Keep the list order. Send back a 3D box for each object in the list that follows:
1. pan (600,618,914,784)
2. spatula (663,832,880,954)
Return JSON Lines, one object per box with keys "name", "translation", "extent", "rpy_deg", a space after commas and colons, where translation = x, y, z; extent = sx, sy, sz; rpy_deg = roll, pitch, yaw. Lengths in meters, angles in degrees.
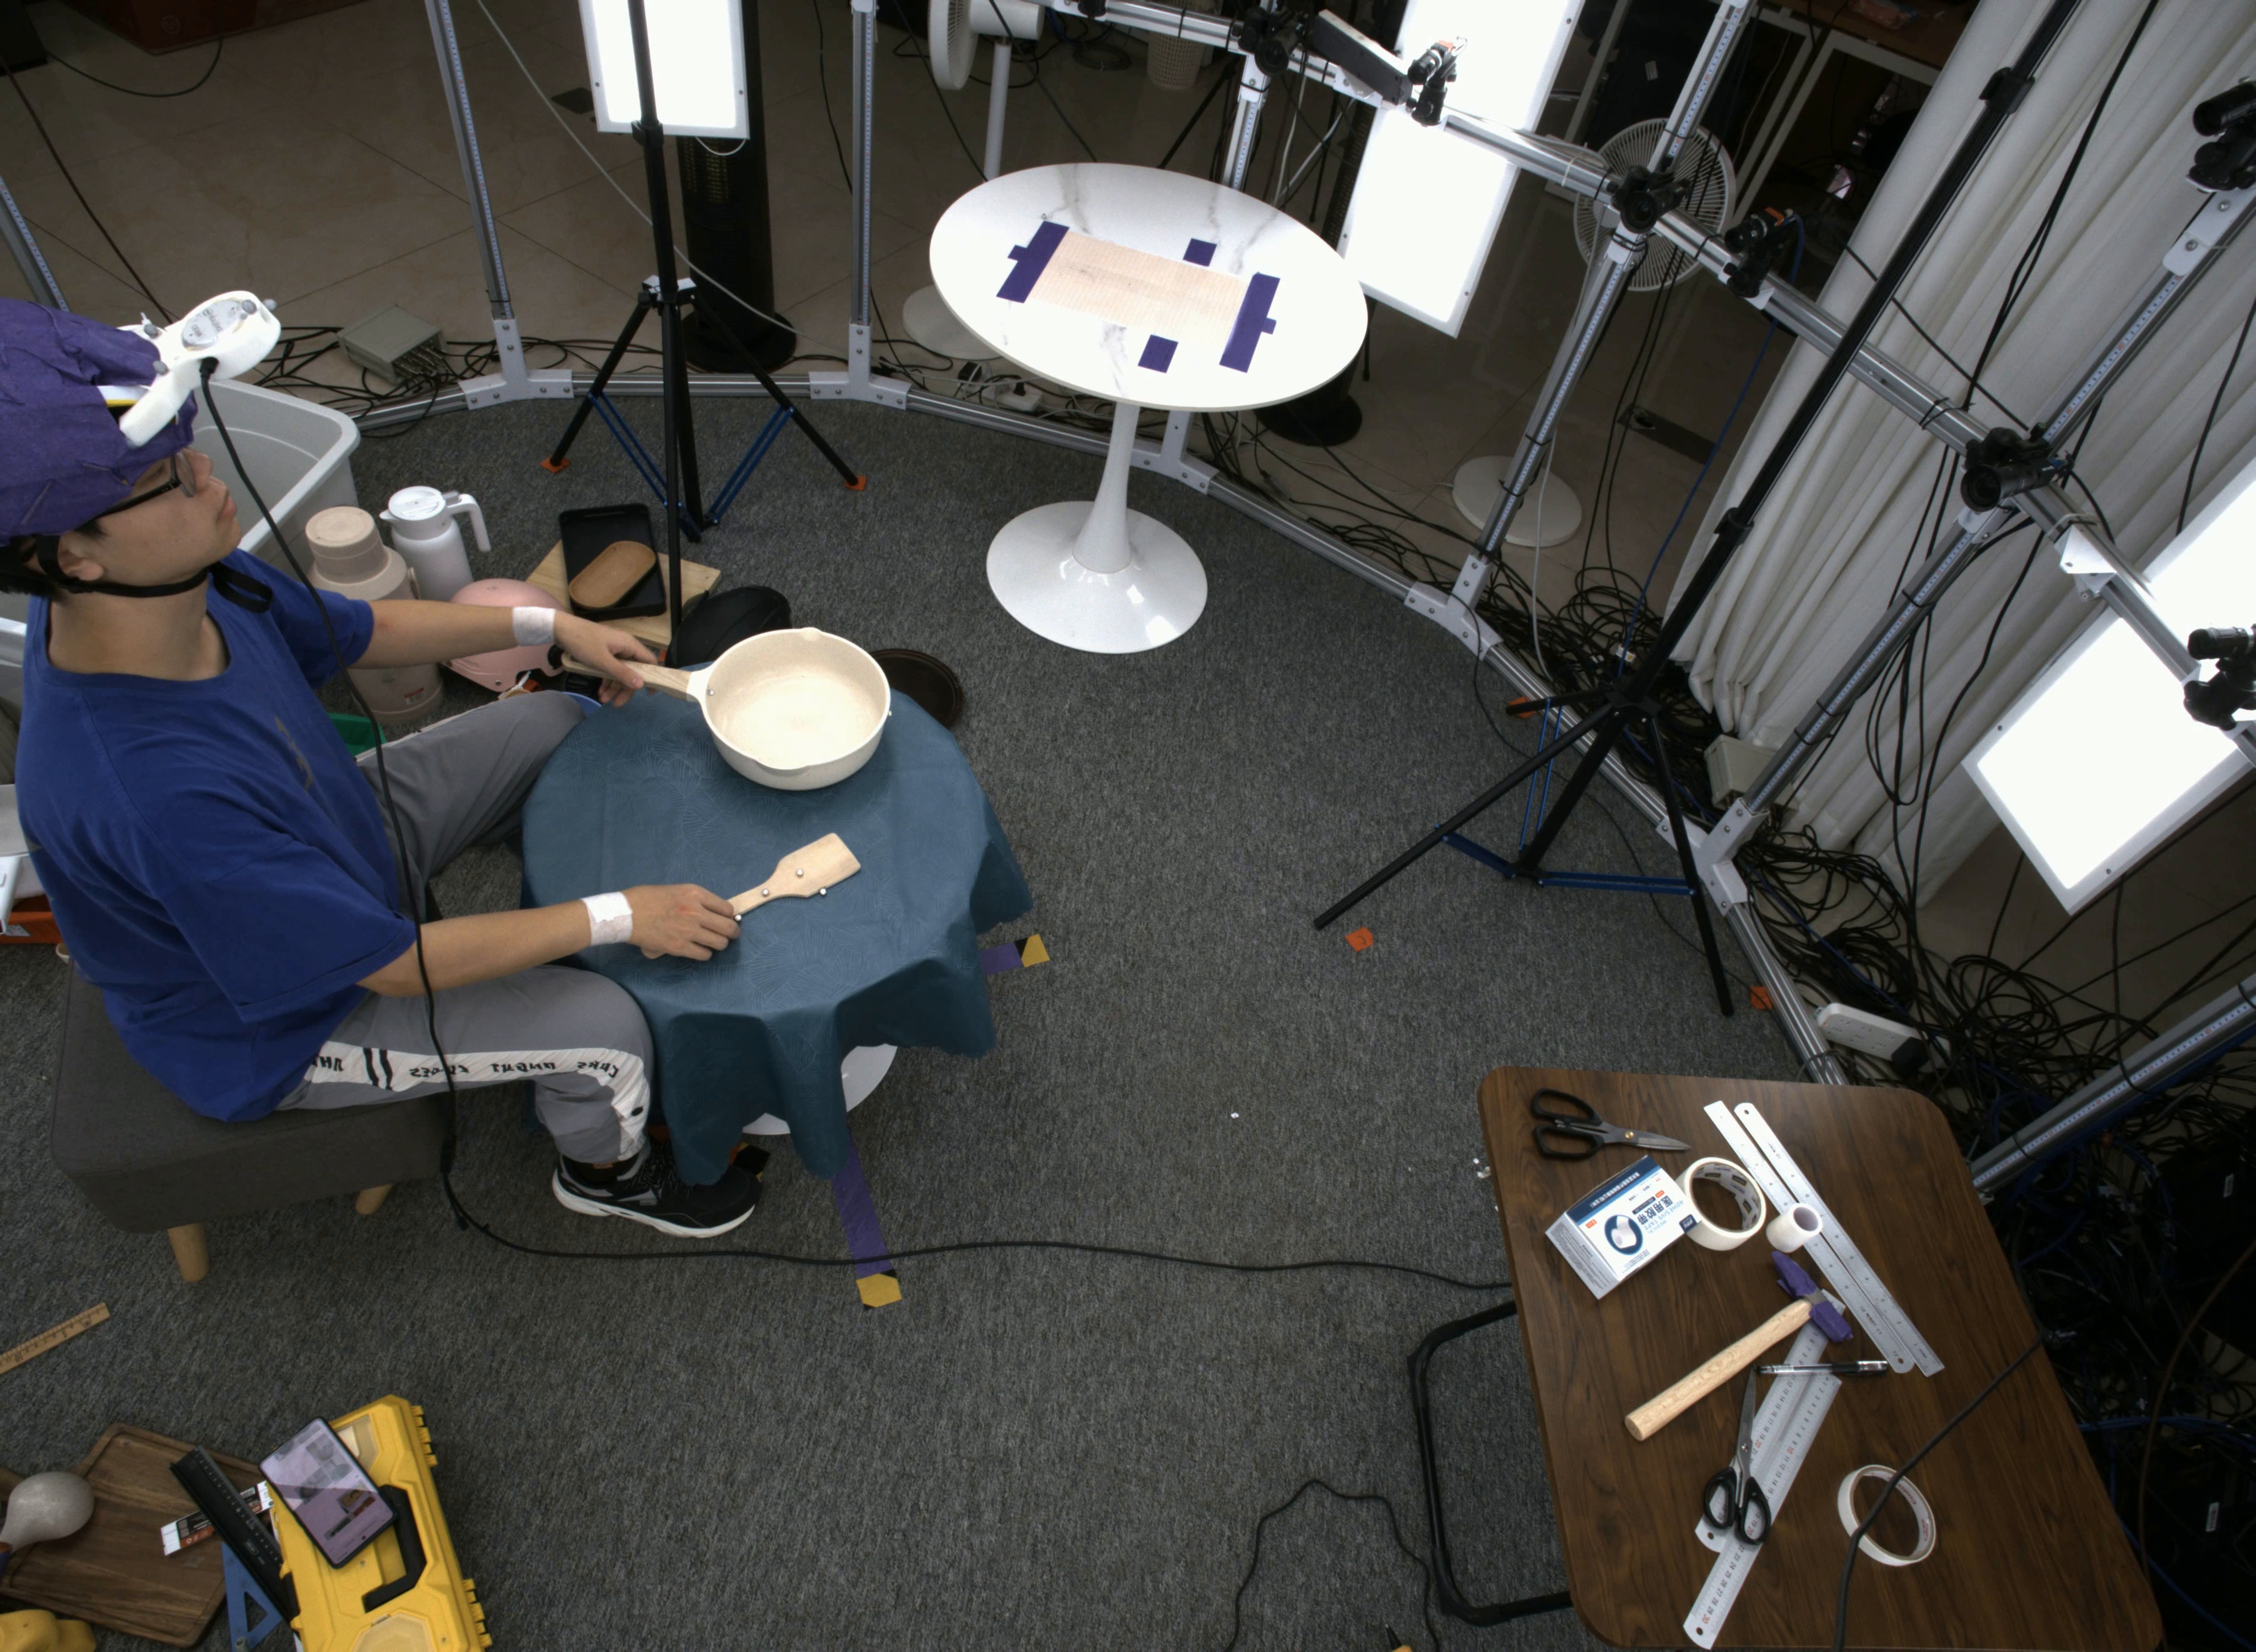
{"name": "pan", "translation": [-0.513, -0.178, 1.780], "extent": [0.434, 0.104, 0.259], "rpy_deg": [6, 55, -9]}
{"name": "spatula", "translation": [-0.456, 0.089, 1.653], "extent": [0.294, 0.011, 0.070], "rpy_deg": [-28, 65, -31]}
